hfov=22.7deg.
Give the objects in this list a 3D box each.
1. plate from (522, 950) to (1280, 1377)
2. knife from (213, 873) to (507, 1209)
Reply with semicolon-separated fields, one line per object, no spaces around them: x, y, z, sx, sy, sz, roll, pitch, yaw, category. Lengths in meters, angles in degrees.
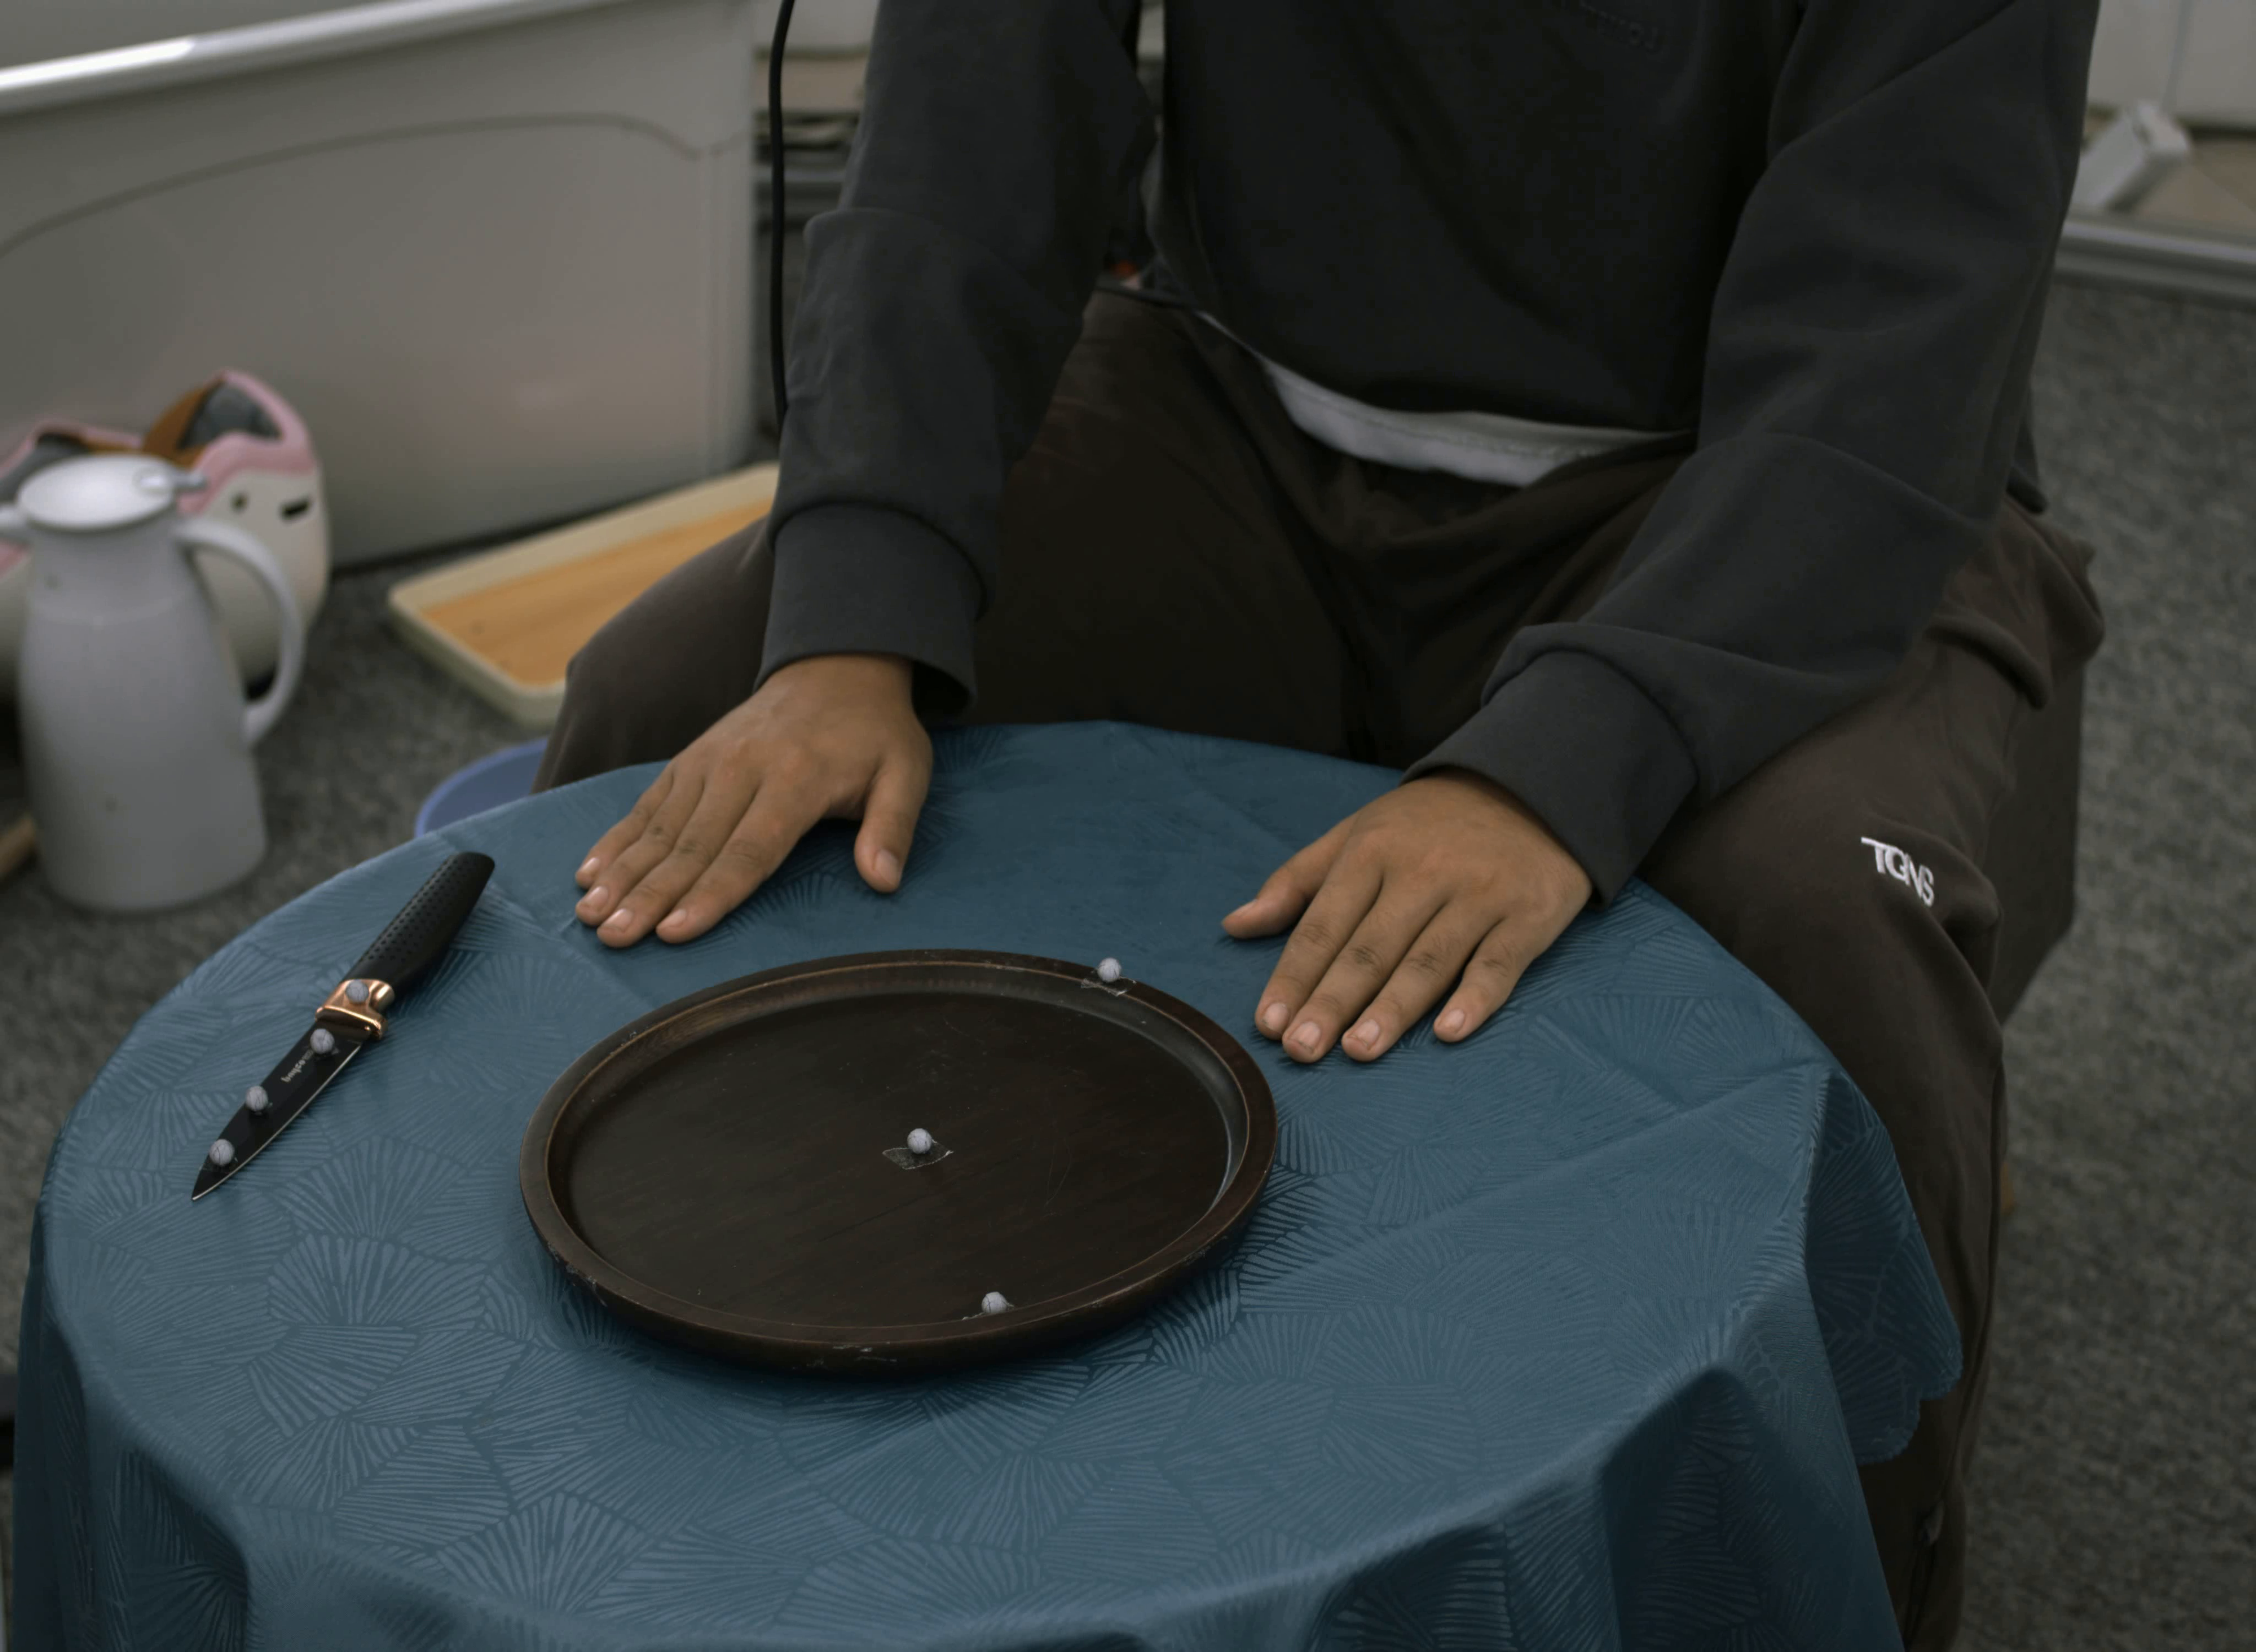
-0.075;0.111;1.867;0.253;0.029;0.258;-2;26;1;plate
-0.271;0.074;1.969;0.026;0.017;0.229;11;31;16;knife
